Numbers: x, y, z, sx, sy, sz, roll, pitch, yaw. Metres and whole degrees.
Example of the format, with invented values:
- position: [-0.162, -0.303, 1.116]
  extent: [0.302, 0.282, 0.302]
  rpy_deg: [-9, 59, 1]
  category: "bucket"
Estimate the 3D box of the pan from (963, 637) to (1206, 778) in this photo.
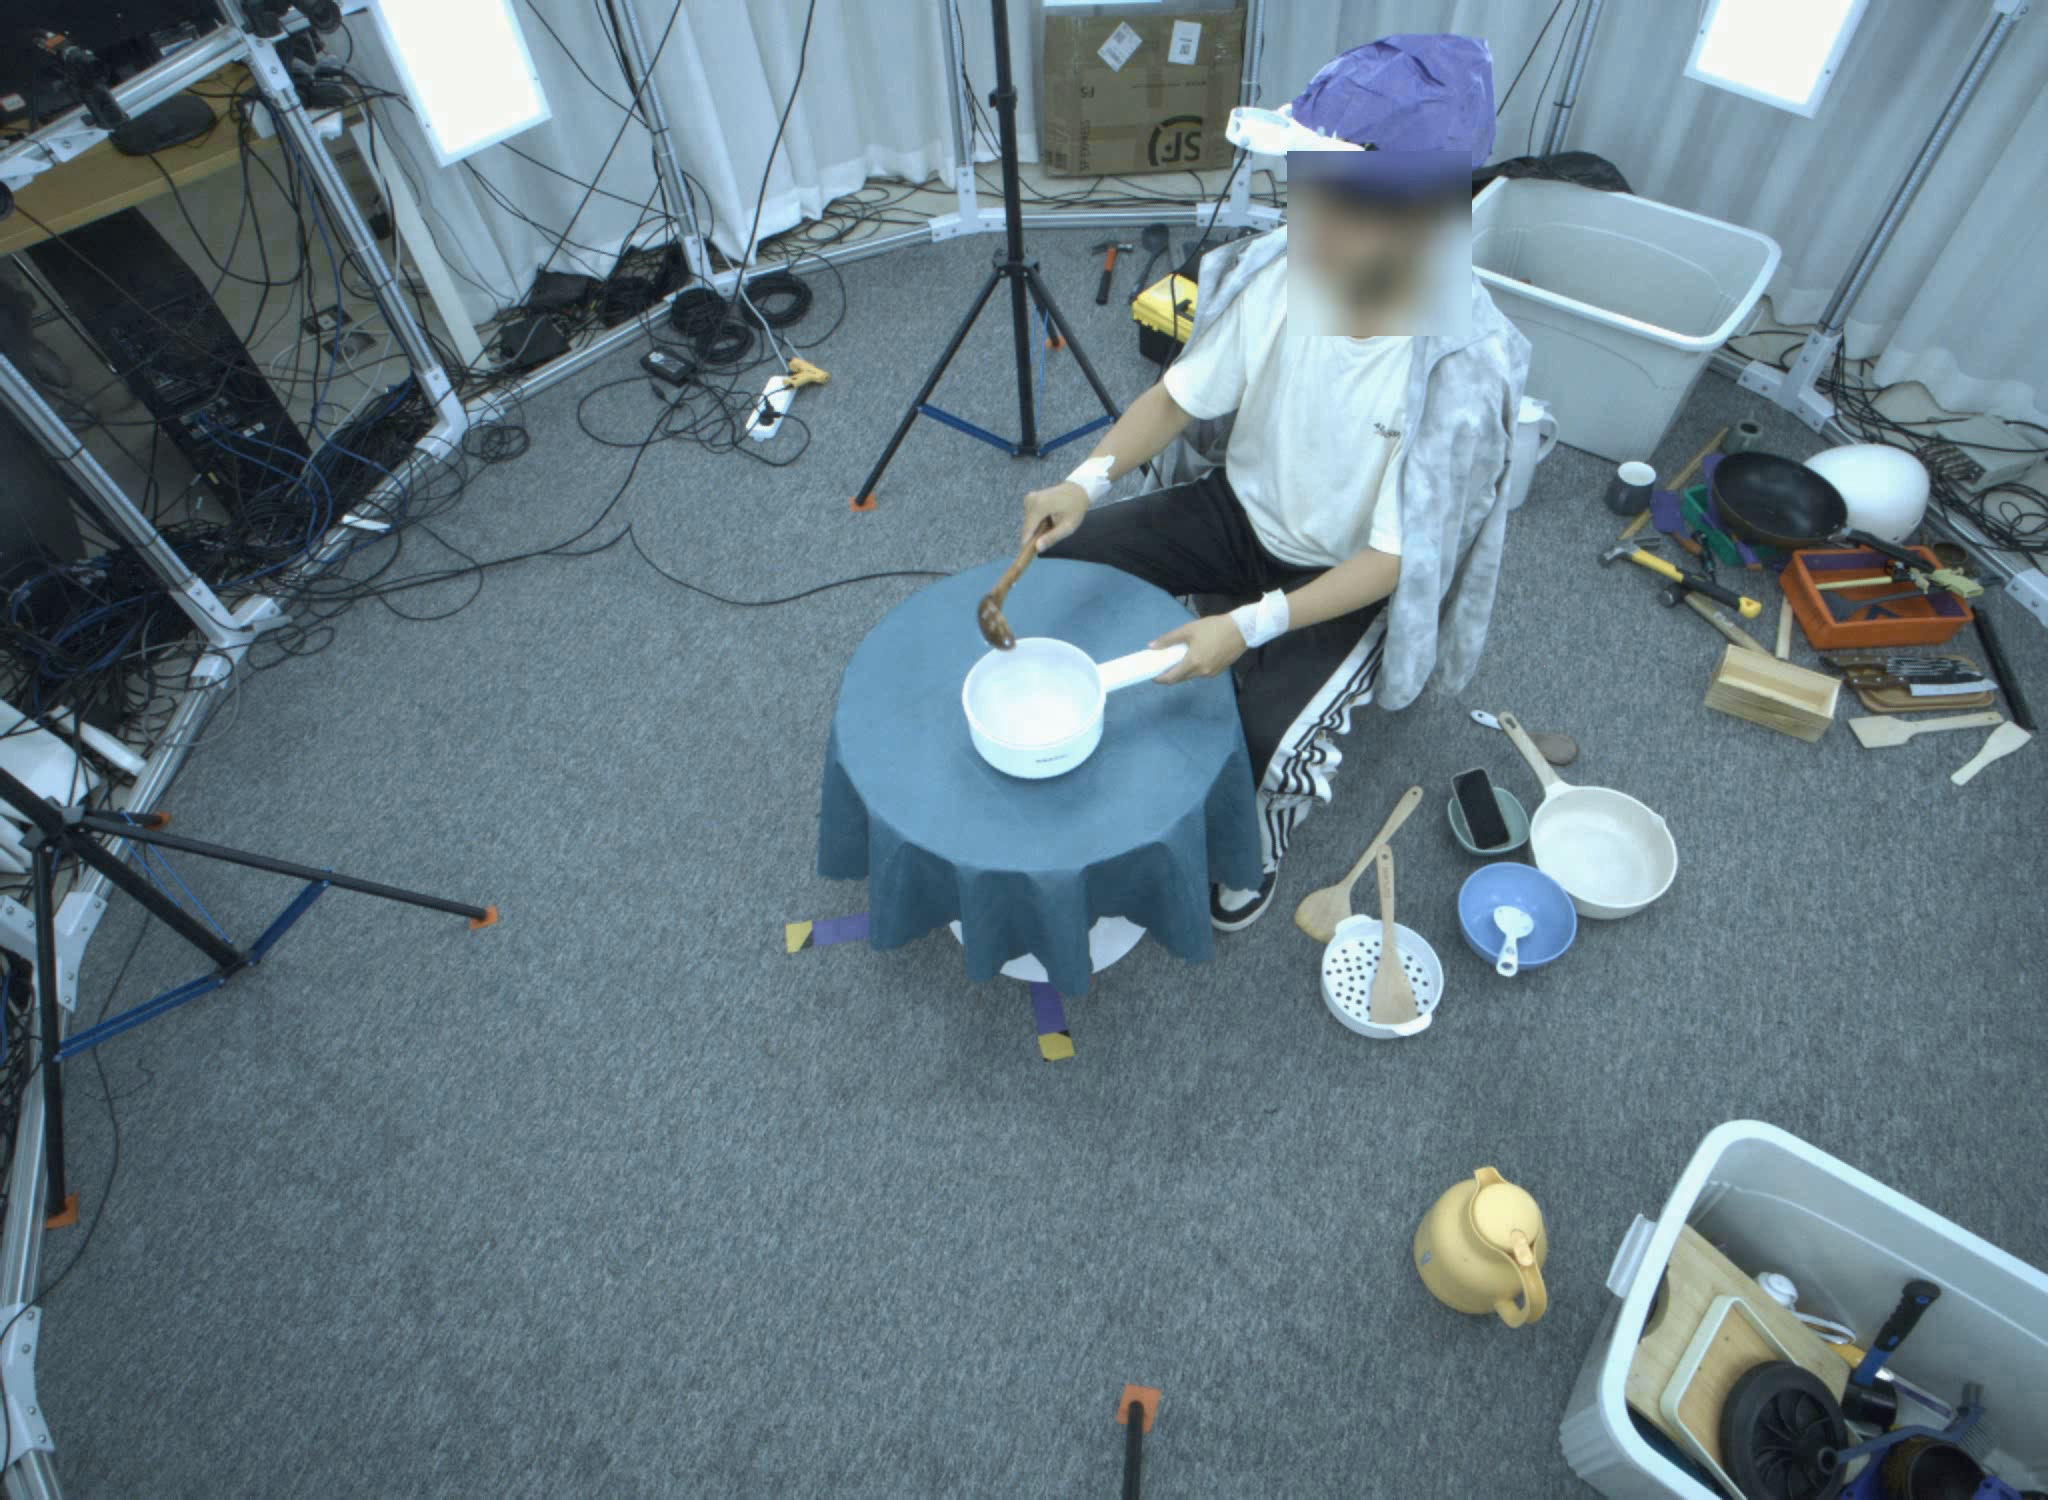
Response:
- position: [0.089, -0.077, 1.781]
  extent: [0.357, 0.103, 0.197]
  rpy_deg: [-17, 55, -10]
  category: "pan"

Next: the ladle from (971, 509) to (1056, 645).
- position: [0.004, -0.256, 1.753]
  extent: [0.075, 0.083, 0.275]
  rpy_deg: [20, 54, 22]
  category: "ladle"
